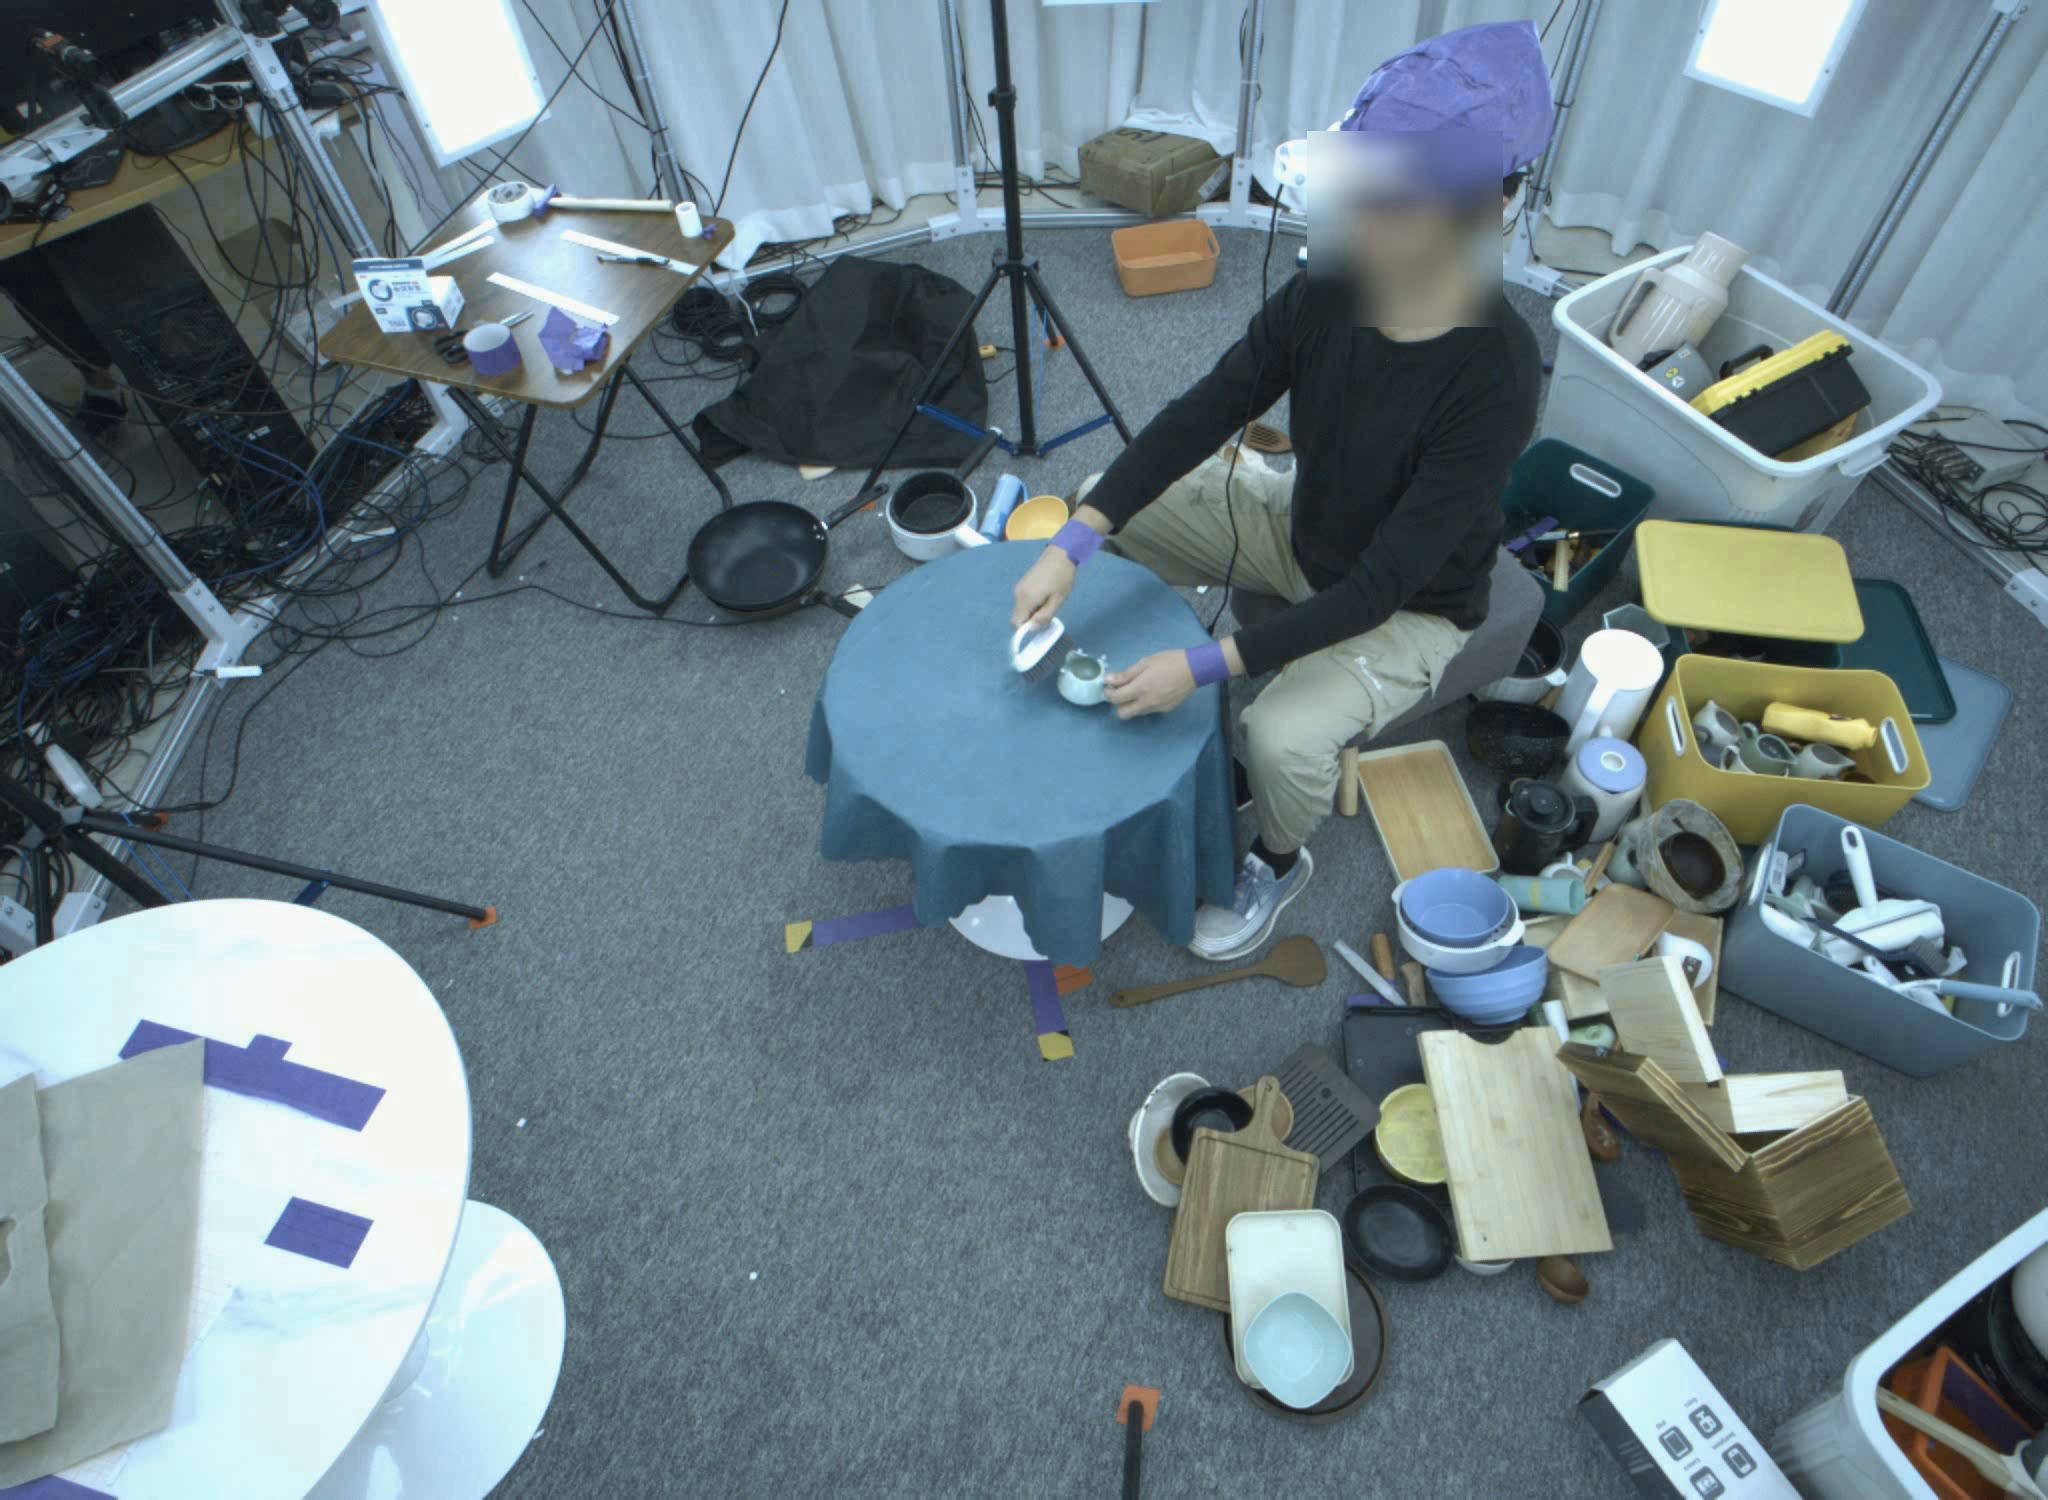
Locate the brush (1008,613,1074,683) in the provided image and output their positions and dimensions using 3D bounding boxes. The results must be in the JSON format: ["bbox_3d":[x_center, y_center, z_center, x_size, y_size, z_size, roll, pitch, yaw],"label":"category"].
[{"bbox_3d":[0.019,-0.158,1.812,0.099,0.074,0.049,-49,28,-14],"label":"brush"}]

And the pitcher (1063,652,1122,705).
[{"bbox_3d":[0.107,-0.097,1.816,0.087,0.061,0.105,-19,39,-24],"label":"pitcher"}]
